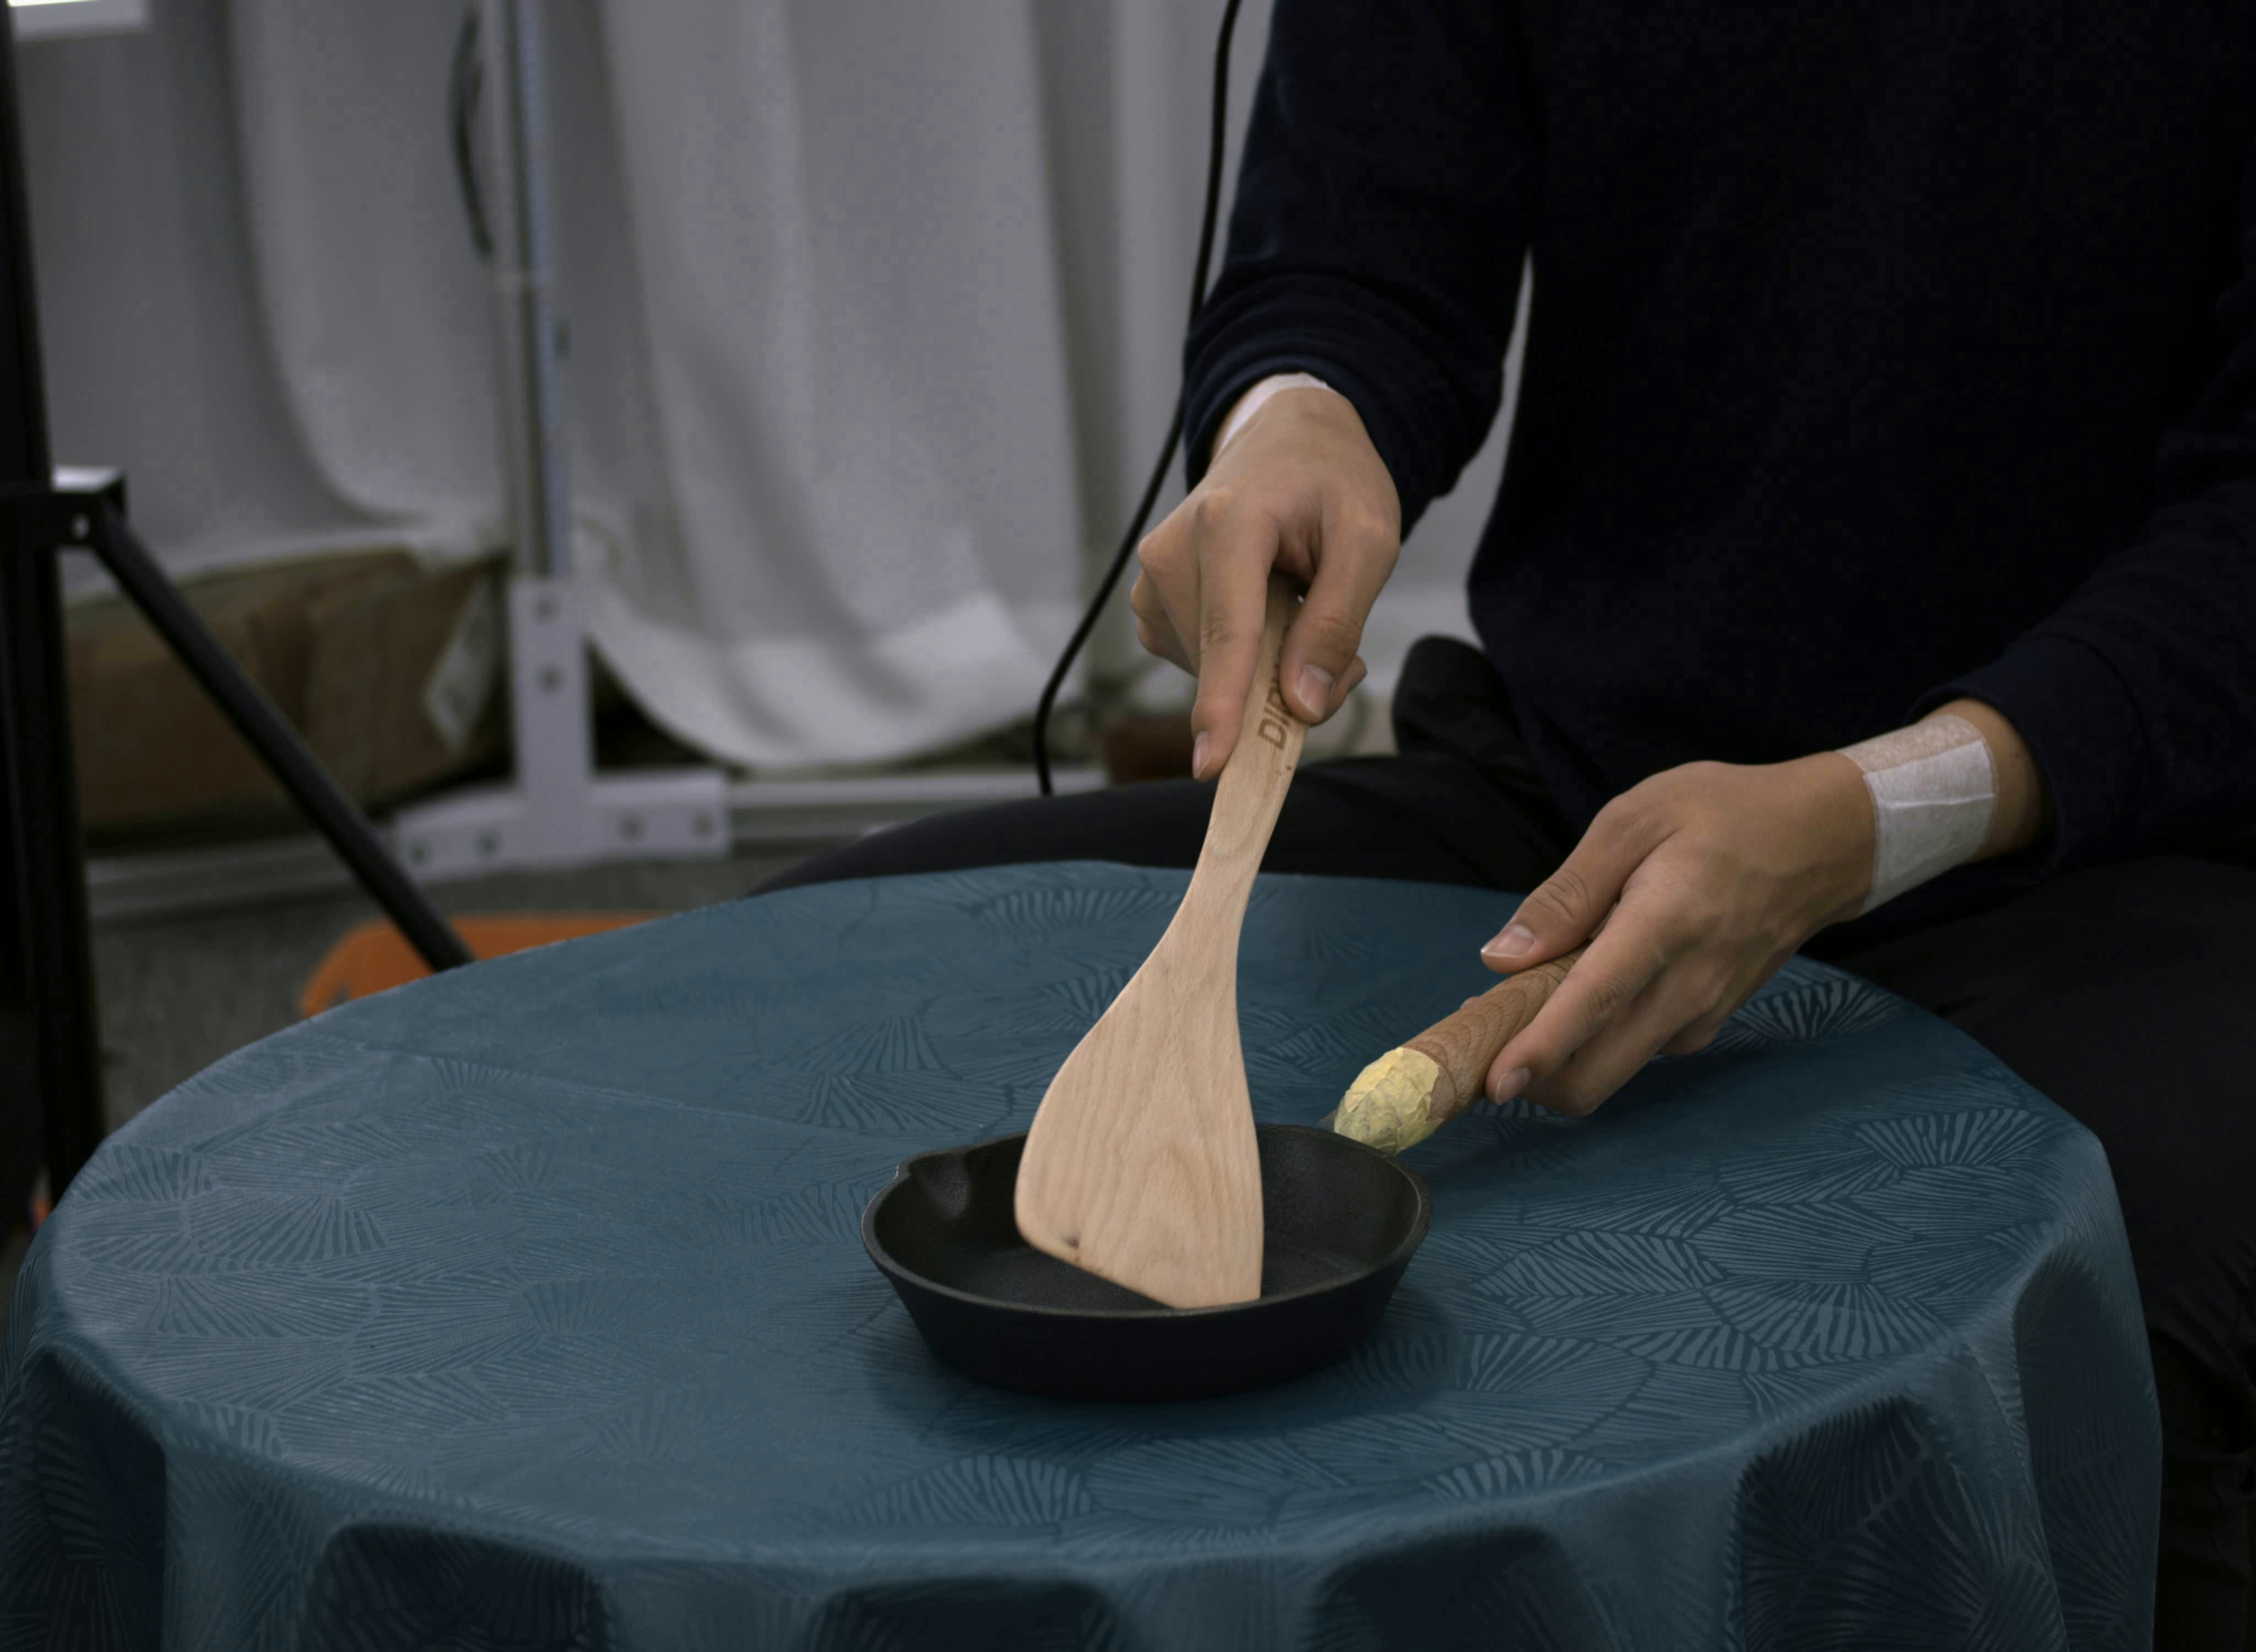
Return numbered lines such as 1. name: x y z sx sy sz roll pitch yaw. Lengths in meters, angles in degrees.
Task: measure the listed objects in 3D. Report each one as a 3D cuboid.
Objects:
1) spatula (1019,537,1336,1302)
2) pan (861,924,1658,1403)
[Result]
1. spatula: 0.029 0.022 1.539 0.079 0.017 0.328 31 42 -14
2. pan: 0.059 0.092 1.510 0.172 0.049 0.317 11 22 39
